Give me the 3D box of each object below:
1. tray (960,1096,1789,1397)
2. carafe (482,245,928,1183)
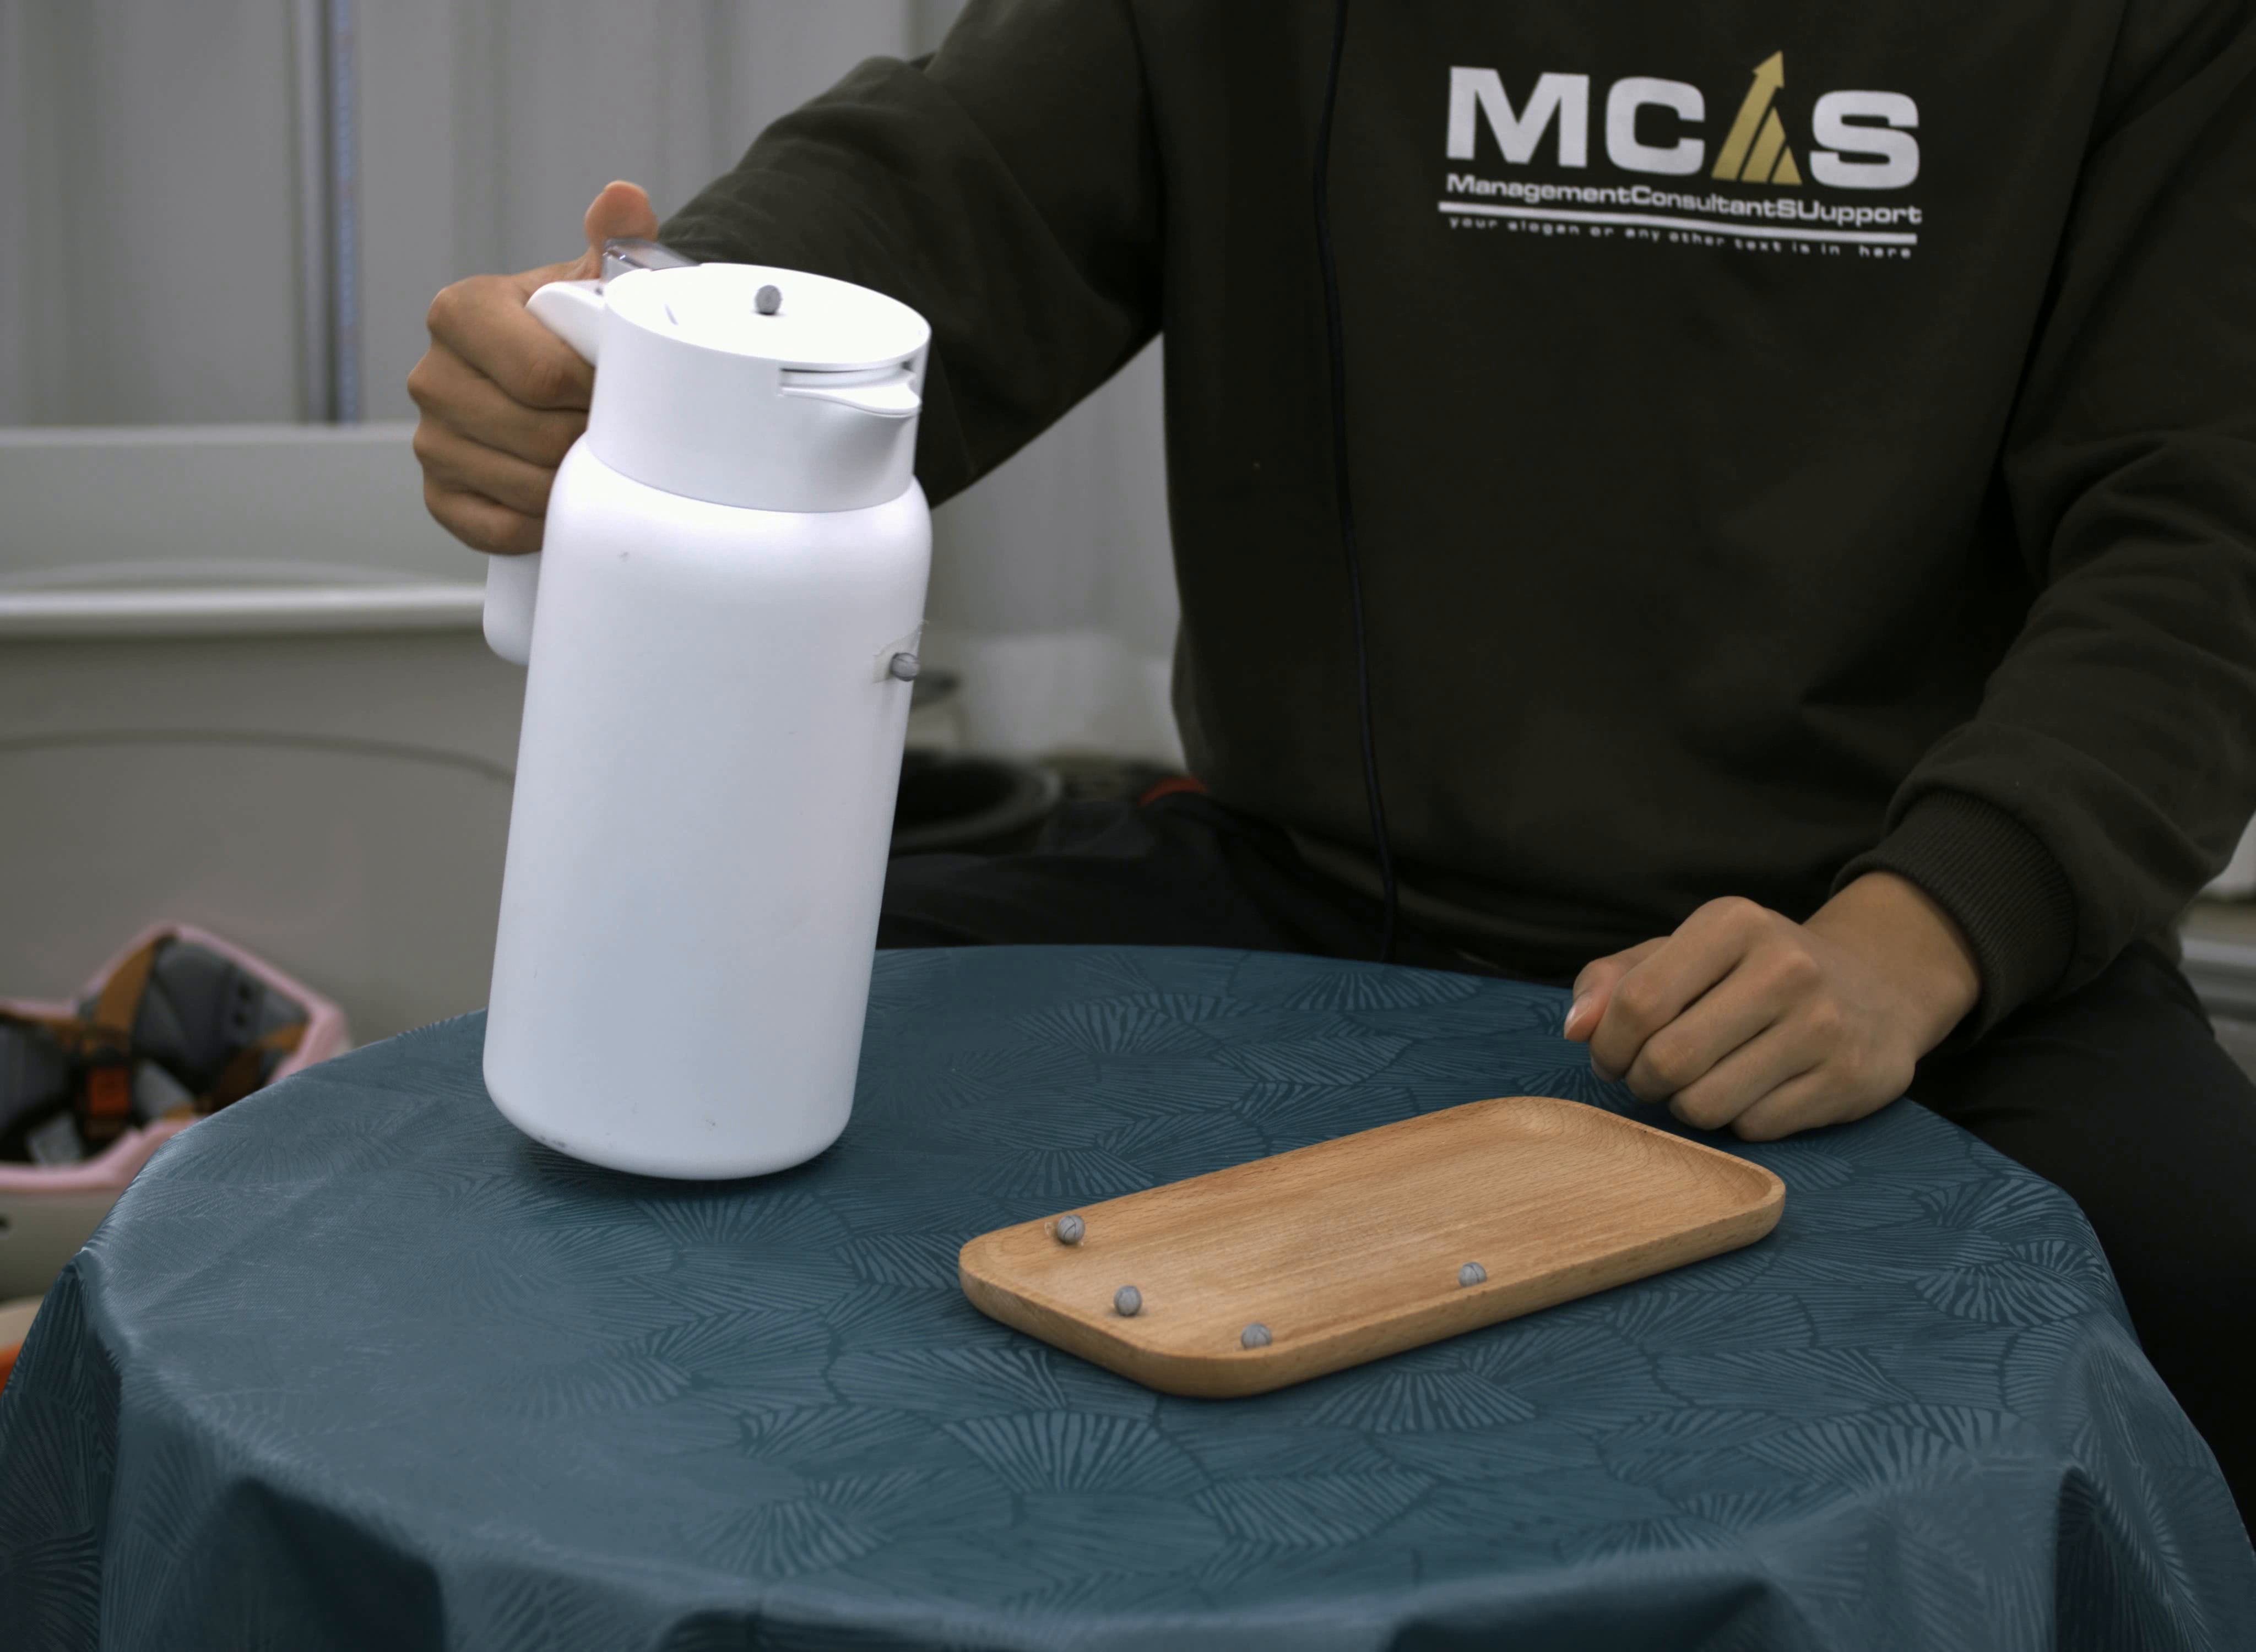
[{"bbox_3d":[0.076,0.123,1.568,0.252,0.023,0.129,-11,22,-38],"label":"tray"},{"bbox_3d":[-0.140,-0.038,1.625,0.124,0.271,0.170,-14,30,-41],"label":"carafe"}]
